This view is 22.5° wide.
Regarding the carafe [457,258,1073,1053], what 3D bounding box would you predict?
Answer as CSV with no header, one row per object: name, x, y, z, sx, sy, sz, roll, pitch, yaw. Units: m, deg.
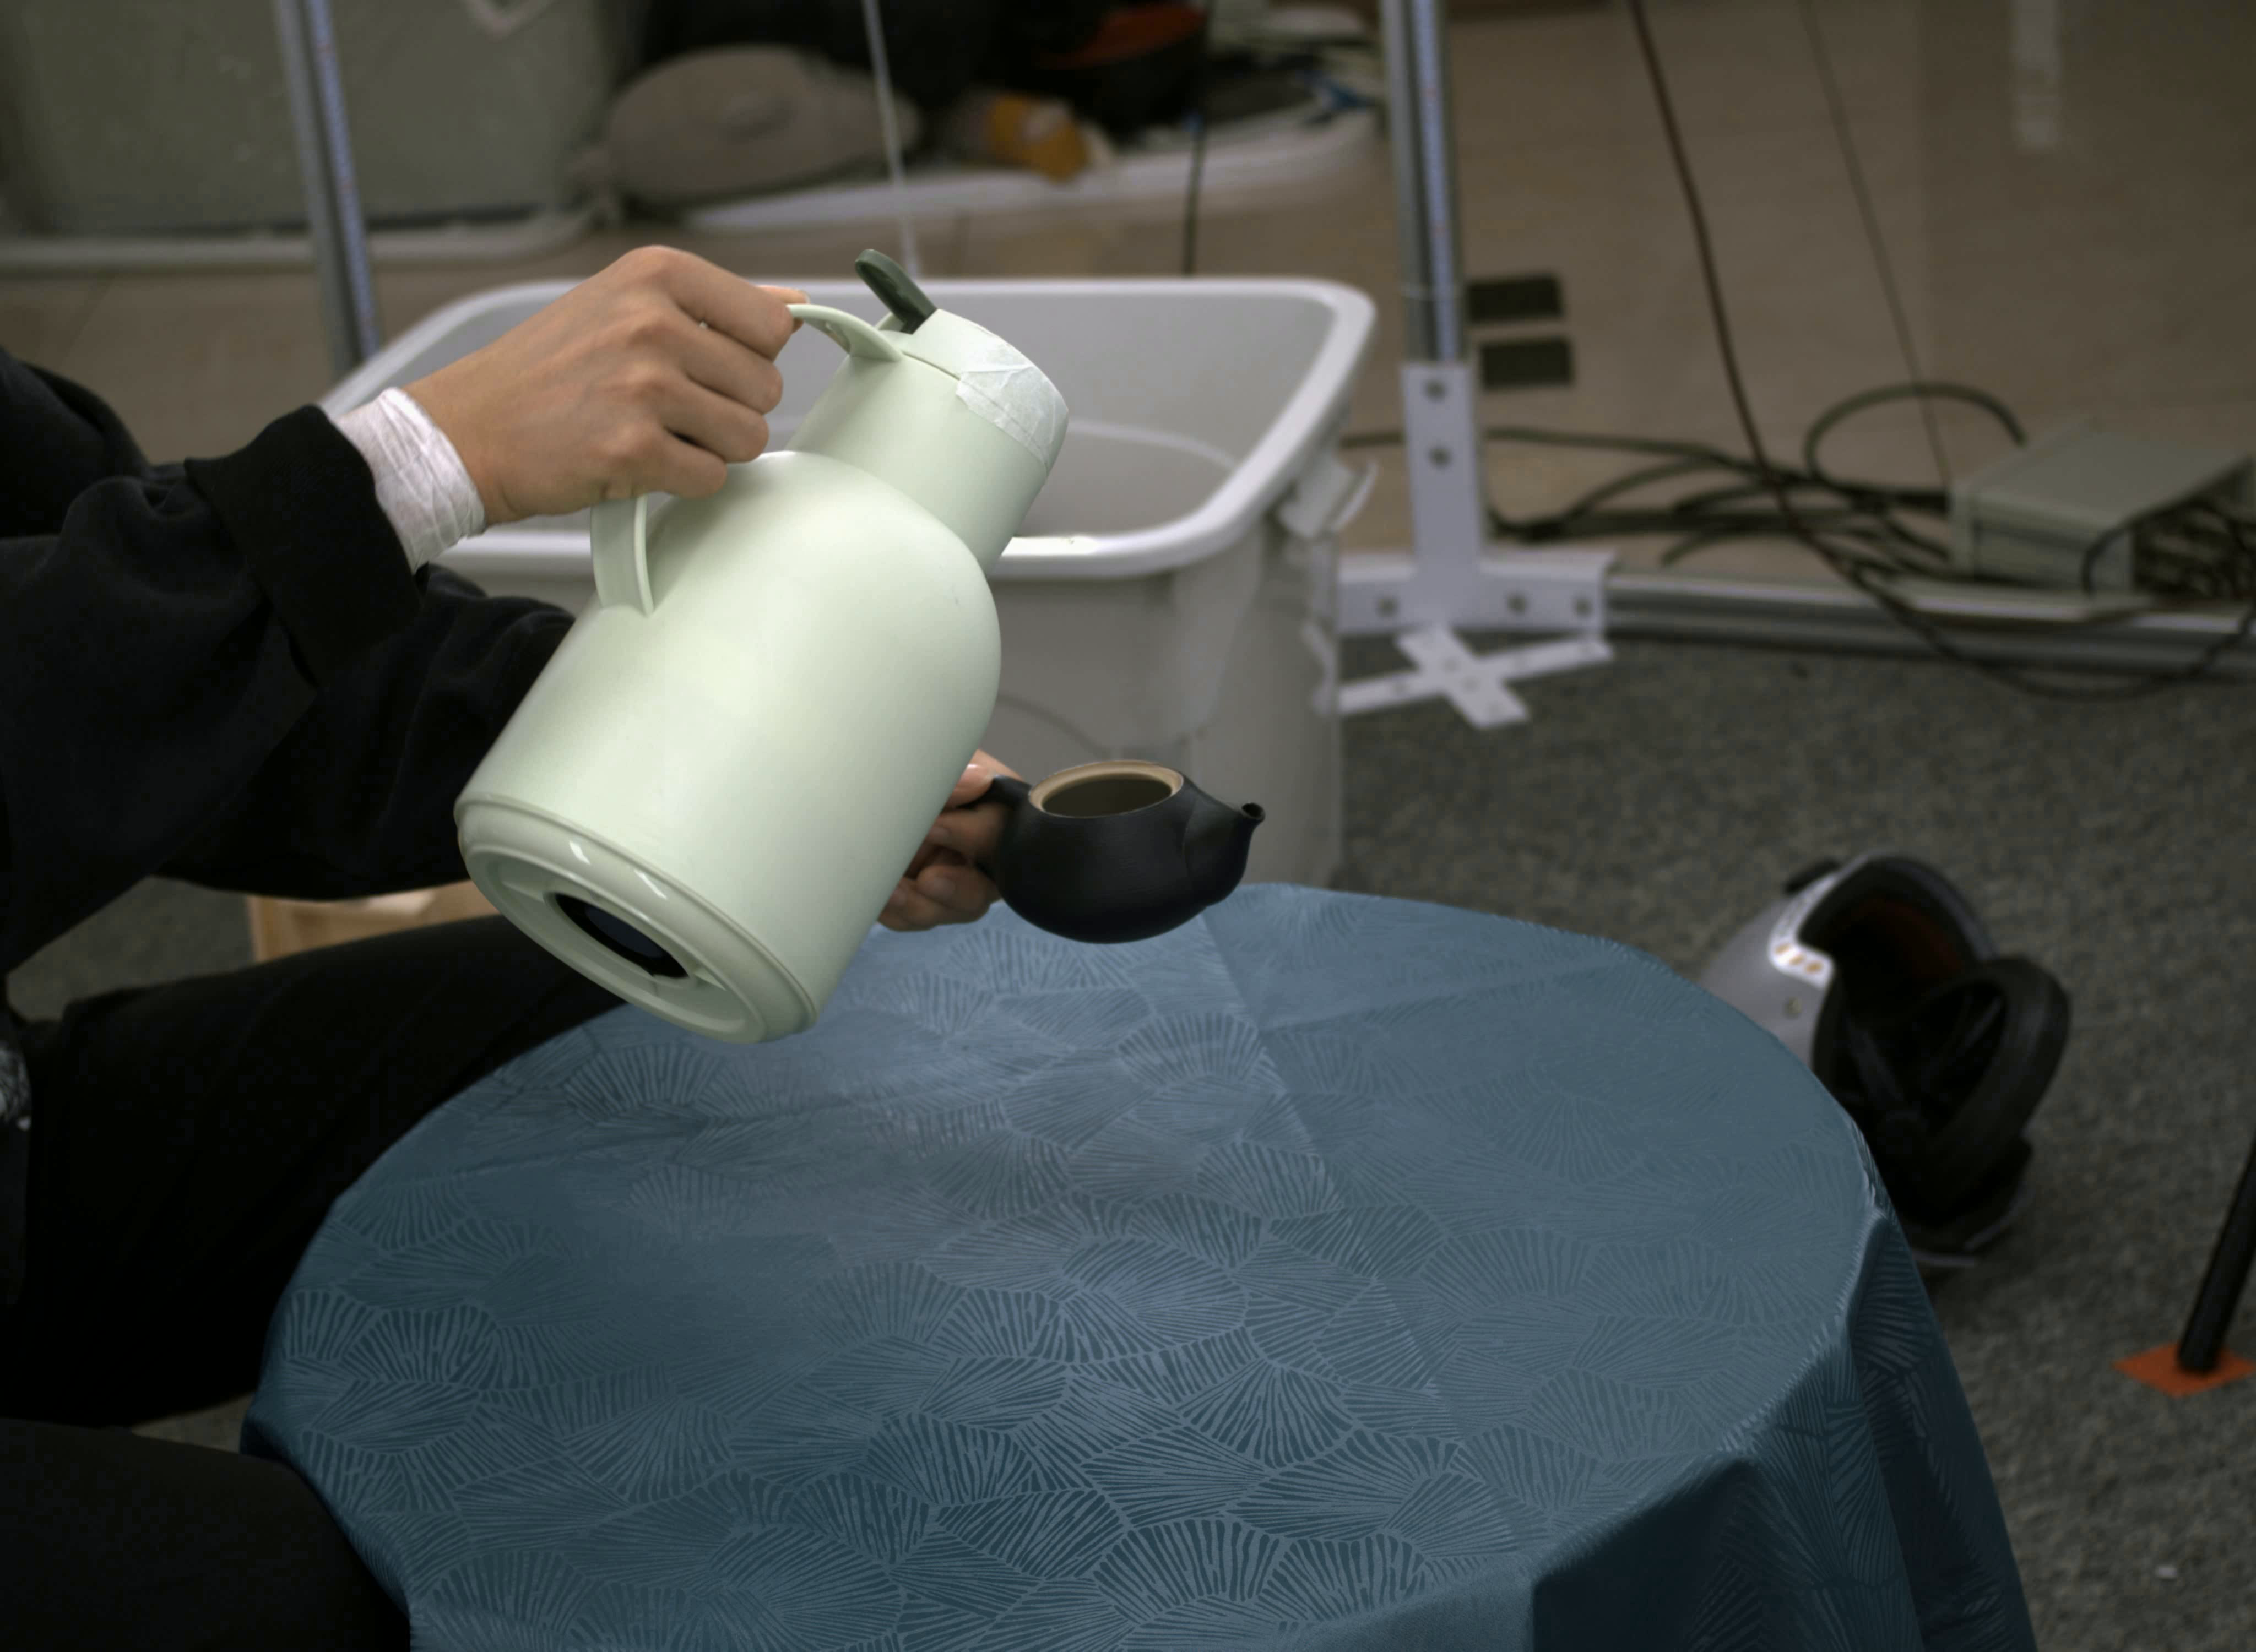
carafe,-0.123,-0.066,1.962,0.143,0.189,0.255,15,72,47

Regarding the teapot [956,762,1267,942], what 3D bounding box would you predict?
teapot,-0.006,0.010,2.124,0.132,0.054,0.090,7,24,28
